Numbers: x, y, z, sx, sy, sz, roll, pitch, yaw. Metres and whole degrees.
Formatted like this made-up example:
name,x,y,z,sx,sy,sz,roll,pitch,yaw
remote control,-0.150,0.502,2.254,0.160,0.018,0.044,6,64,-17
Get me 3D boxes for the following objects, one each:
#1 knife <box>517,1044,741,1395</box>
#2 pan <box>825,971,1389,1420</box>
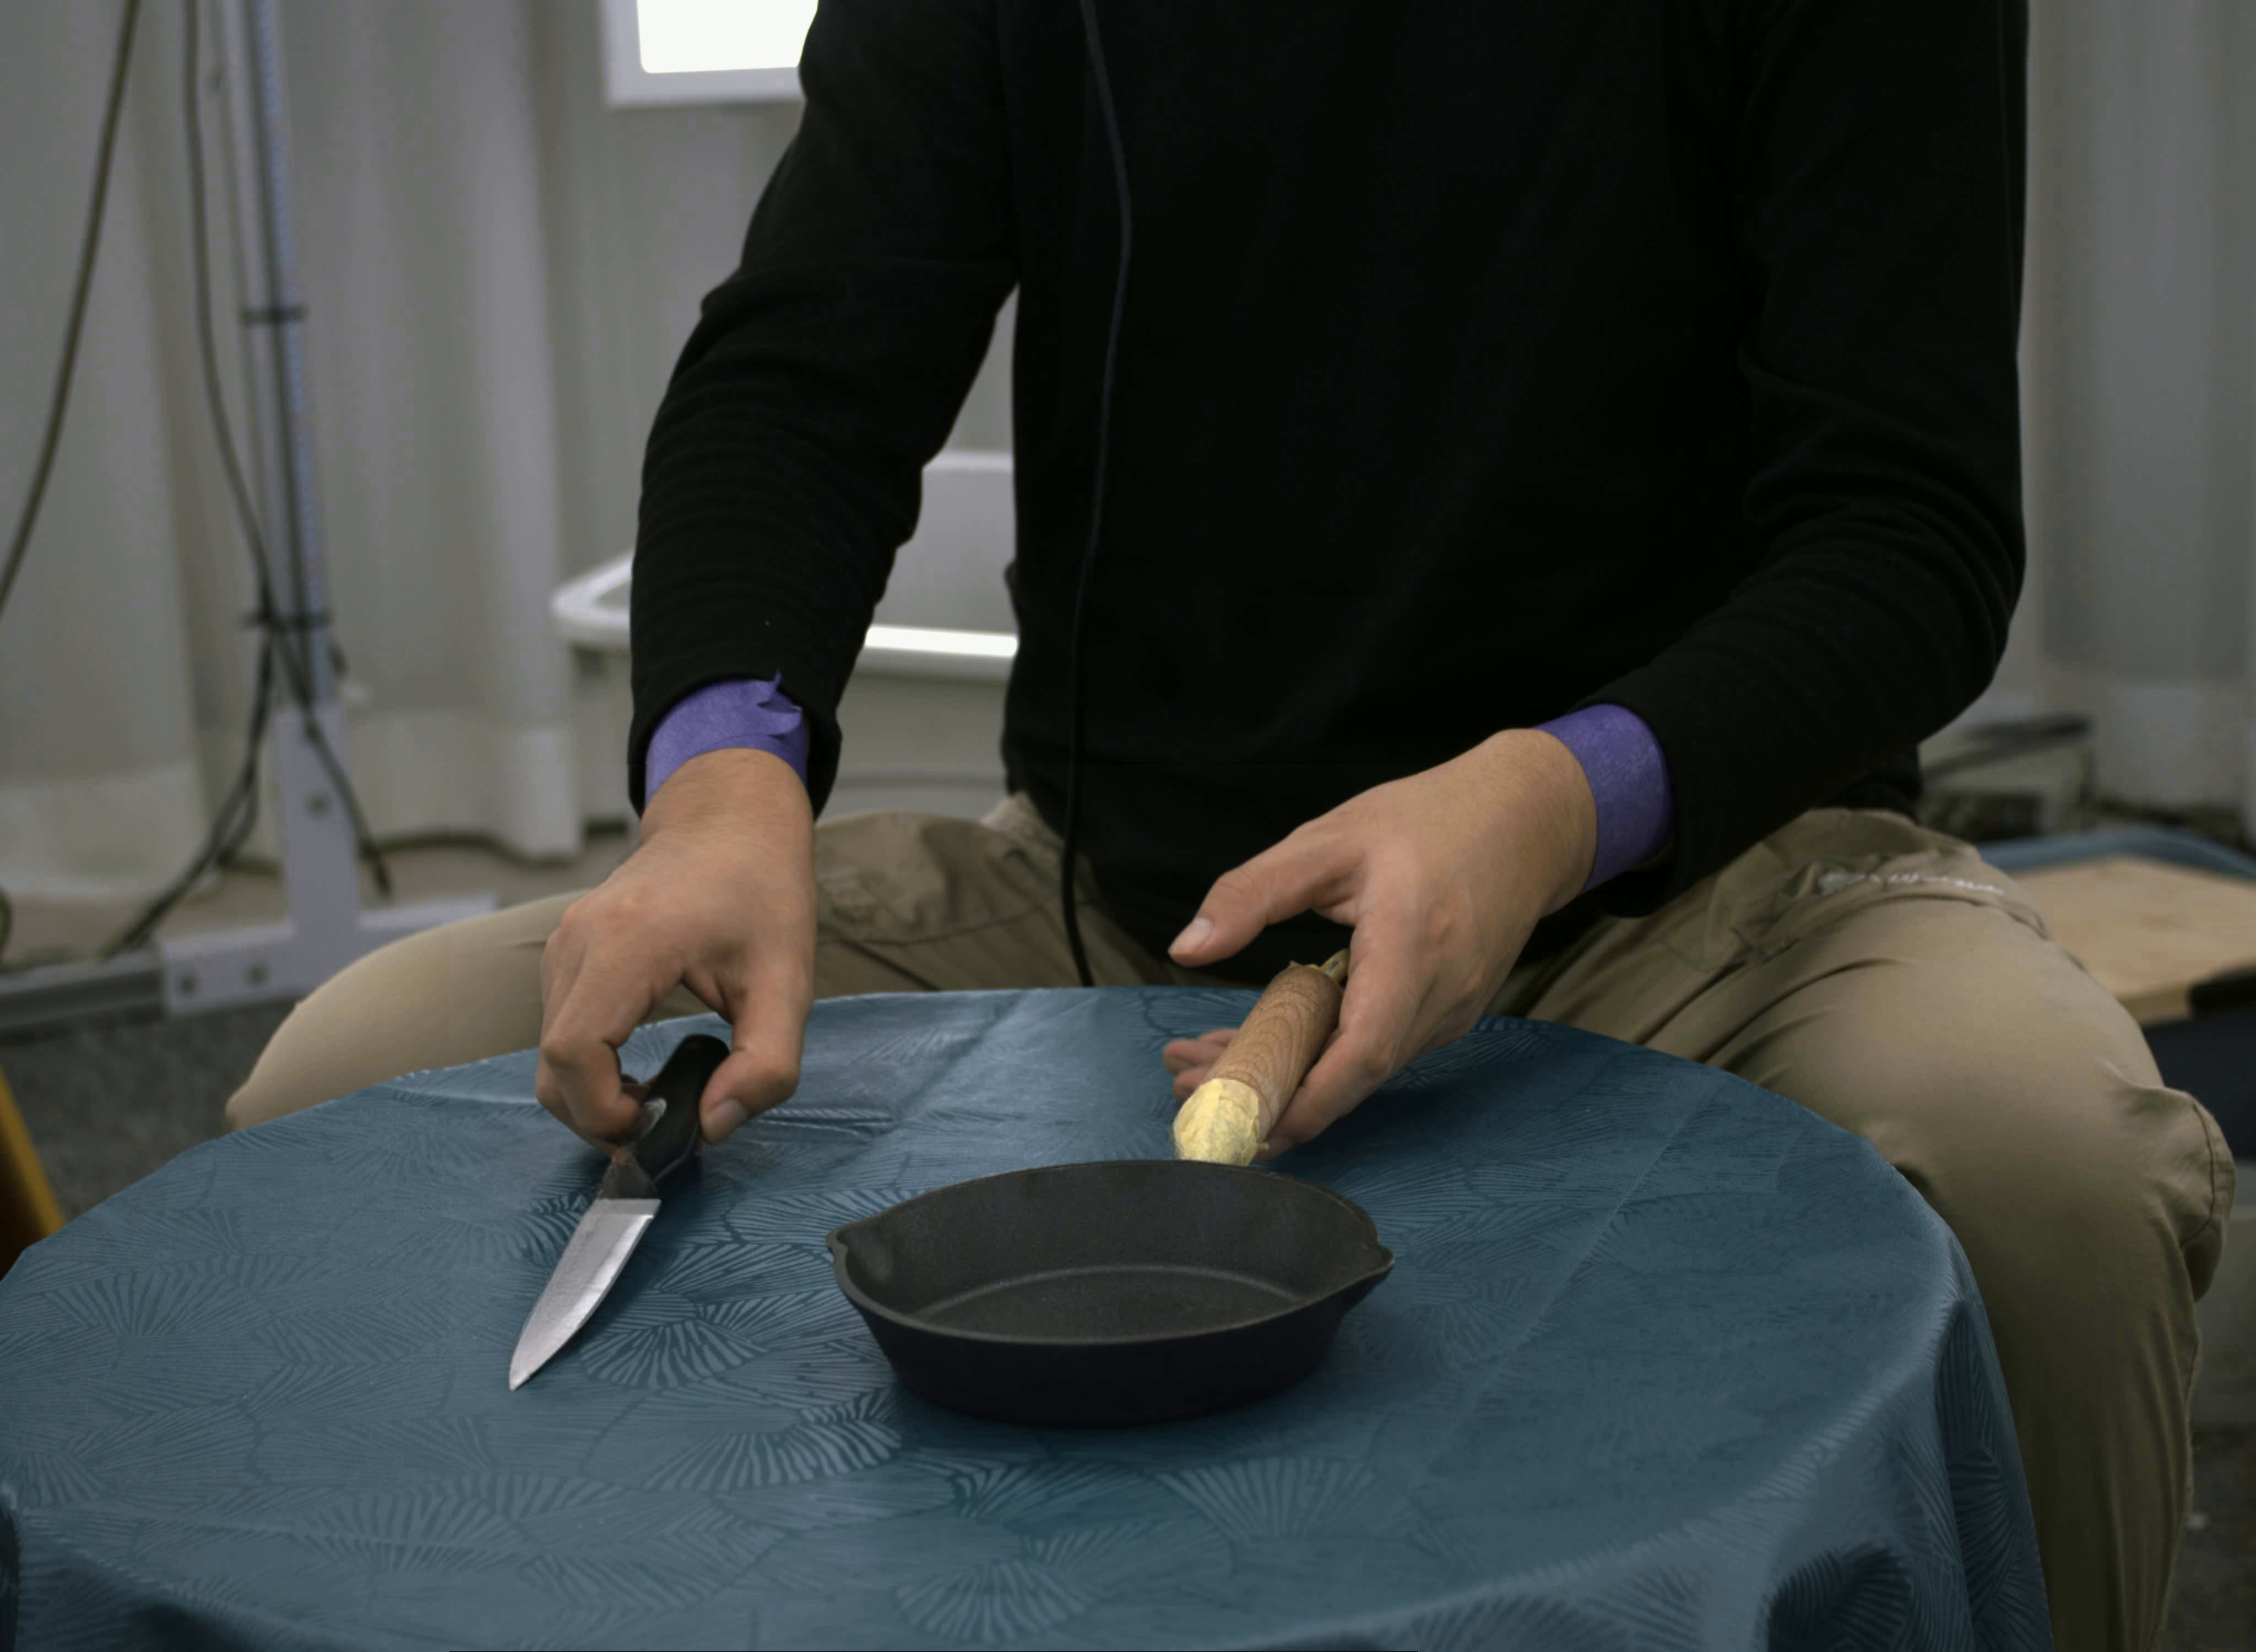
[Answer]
name,x,y,z,sx,sy,sz,roll,pitch,yaw
knife,-0.156,0.120,1.678,0.024,0.016,0.240,-1,21,11
pan,0.020,0.108,1.647,0.169,0.049,0.325,3,15,19
